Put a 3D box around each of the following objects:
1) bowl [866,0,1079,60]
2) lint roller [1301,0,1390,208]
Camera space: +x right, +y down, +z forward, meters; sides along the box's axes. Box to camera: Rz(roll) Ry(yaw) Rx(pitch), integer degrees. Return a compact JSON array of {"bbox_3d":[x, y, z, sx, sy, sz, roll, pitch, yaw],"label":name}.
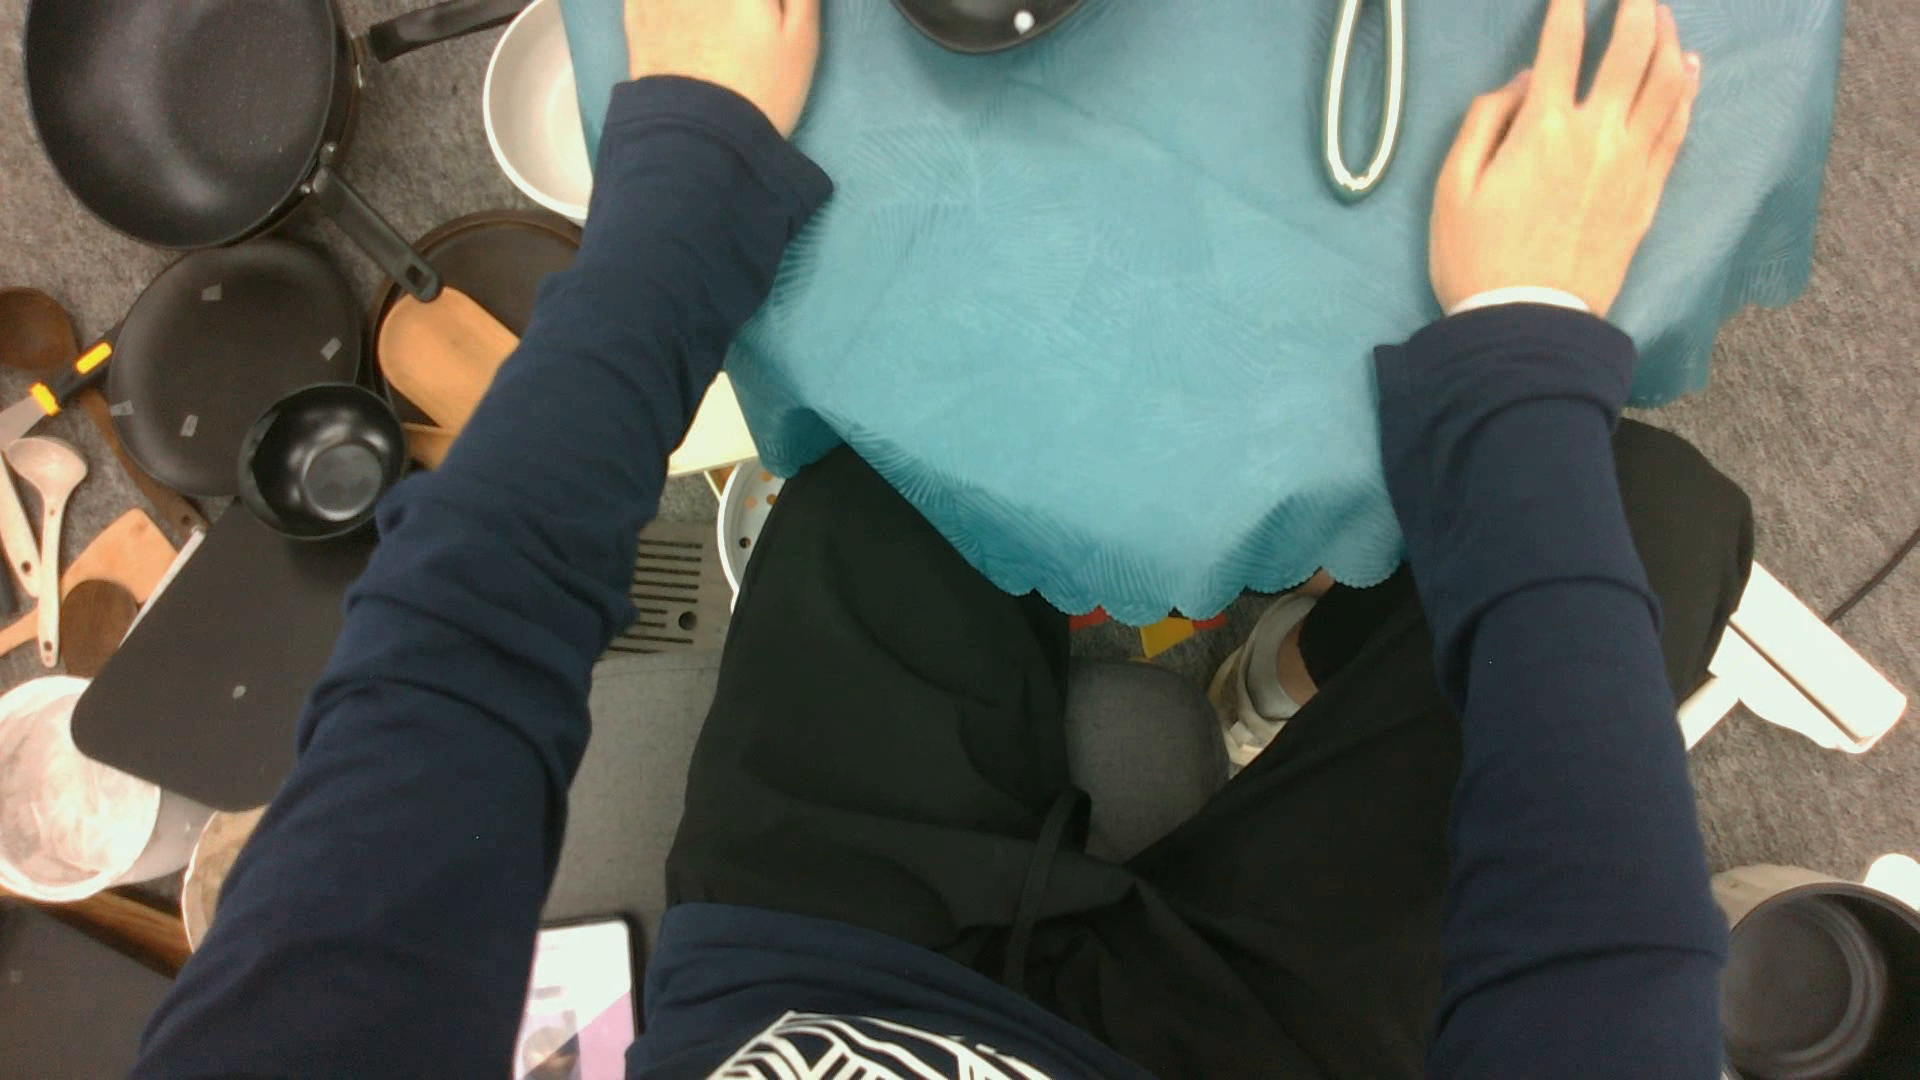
[{"bbox_3d":[0.013,-0.293,0.619,0.137,0.067,0.170,8,89,5],"label":"bowl"},{"bbox_3d":[0.178,-0.244,0.618,0.134,0.048,0.180,4,92,4],"label":"lint roller"}]
